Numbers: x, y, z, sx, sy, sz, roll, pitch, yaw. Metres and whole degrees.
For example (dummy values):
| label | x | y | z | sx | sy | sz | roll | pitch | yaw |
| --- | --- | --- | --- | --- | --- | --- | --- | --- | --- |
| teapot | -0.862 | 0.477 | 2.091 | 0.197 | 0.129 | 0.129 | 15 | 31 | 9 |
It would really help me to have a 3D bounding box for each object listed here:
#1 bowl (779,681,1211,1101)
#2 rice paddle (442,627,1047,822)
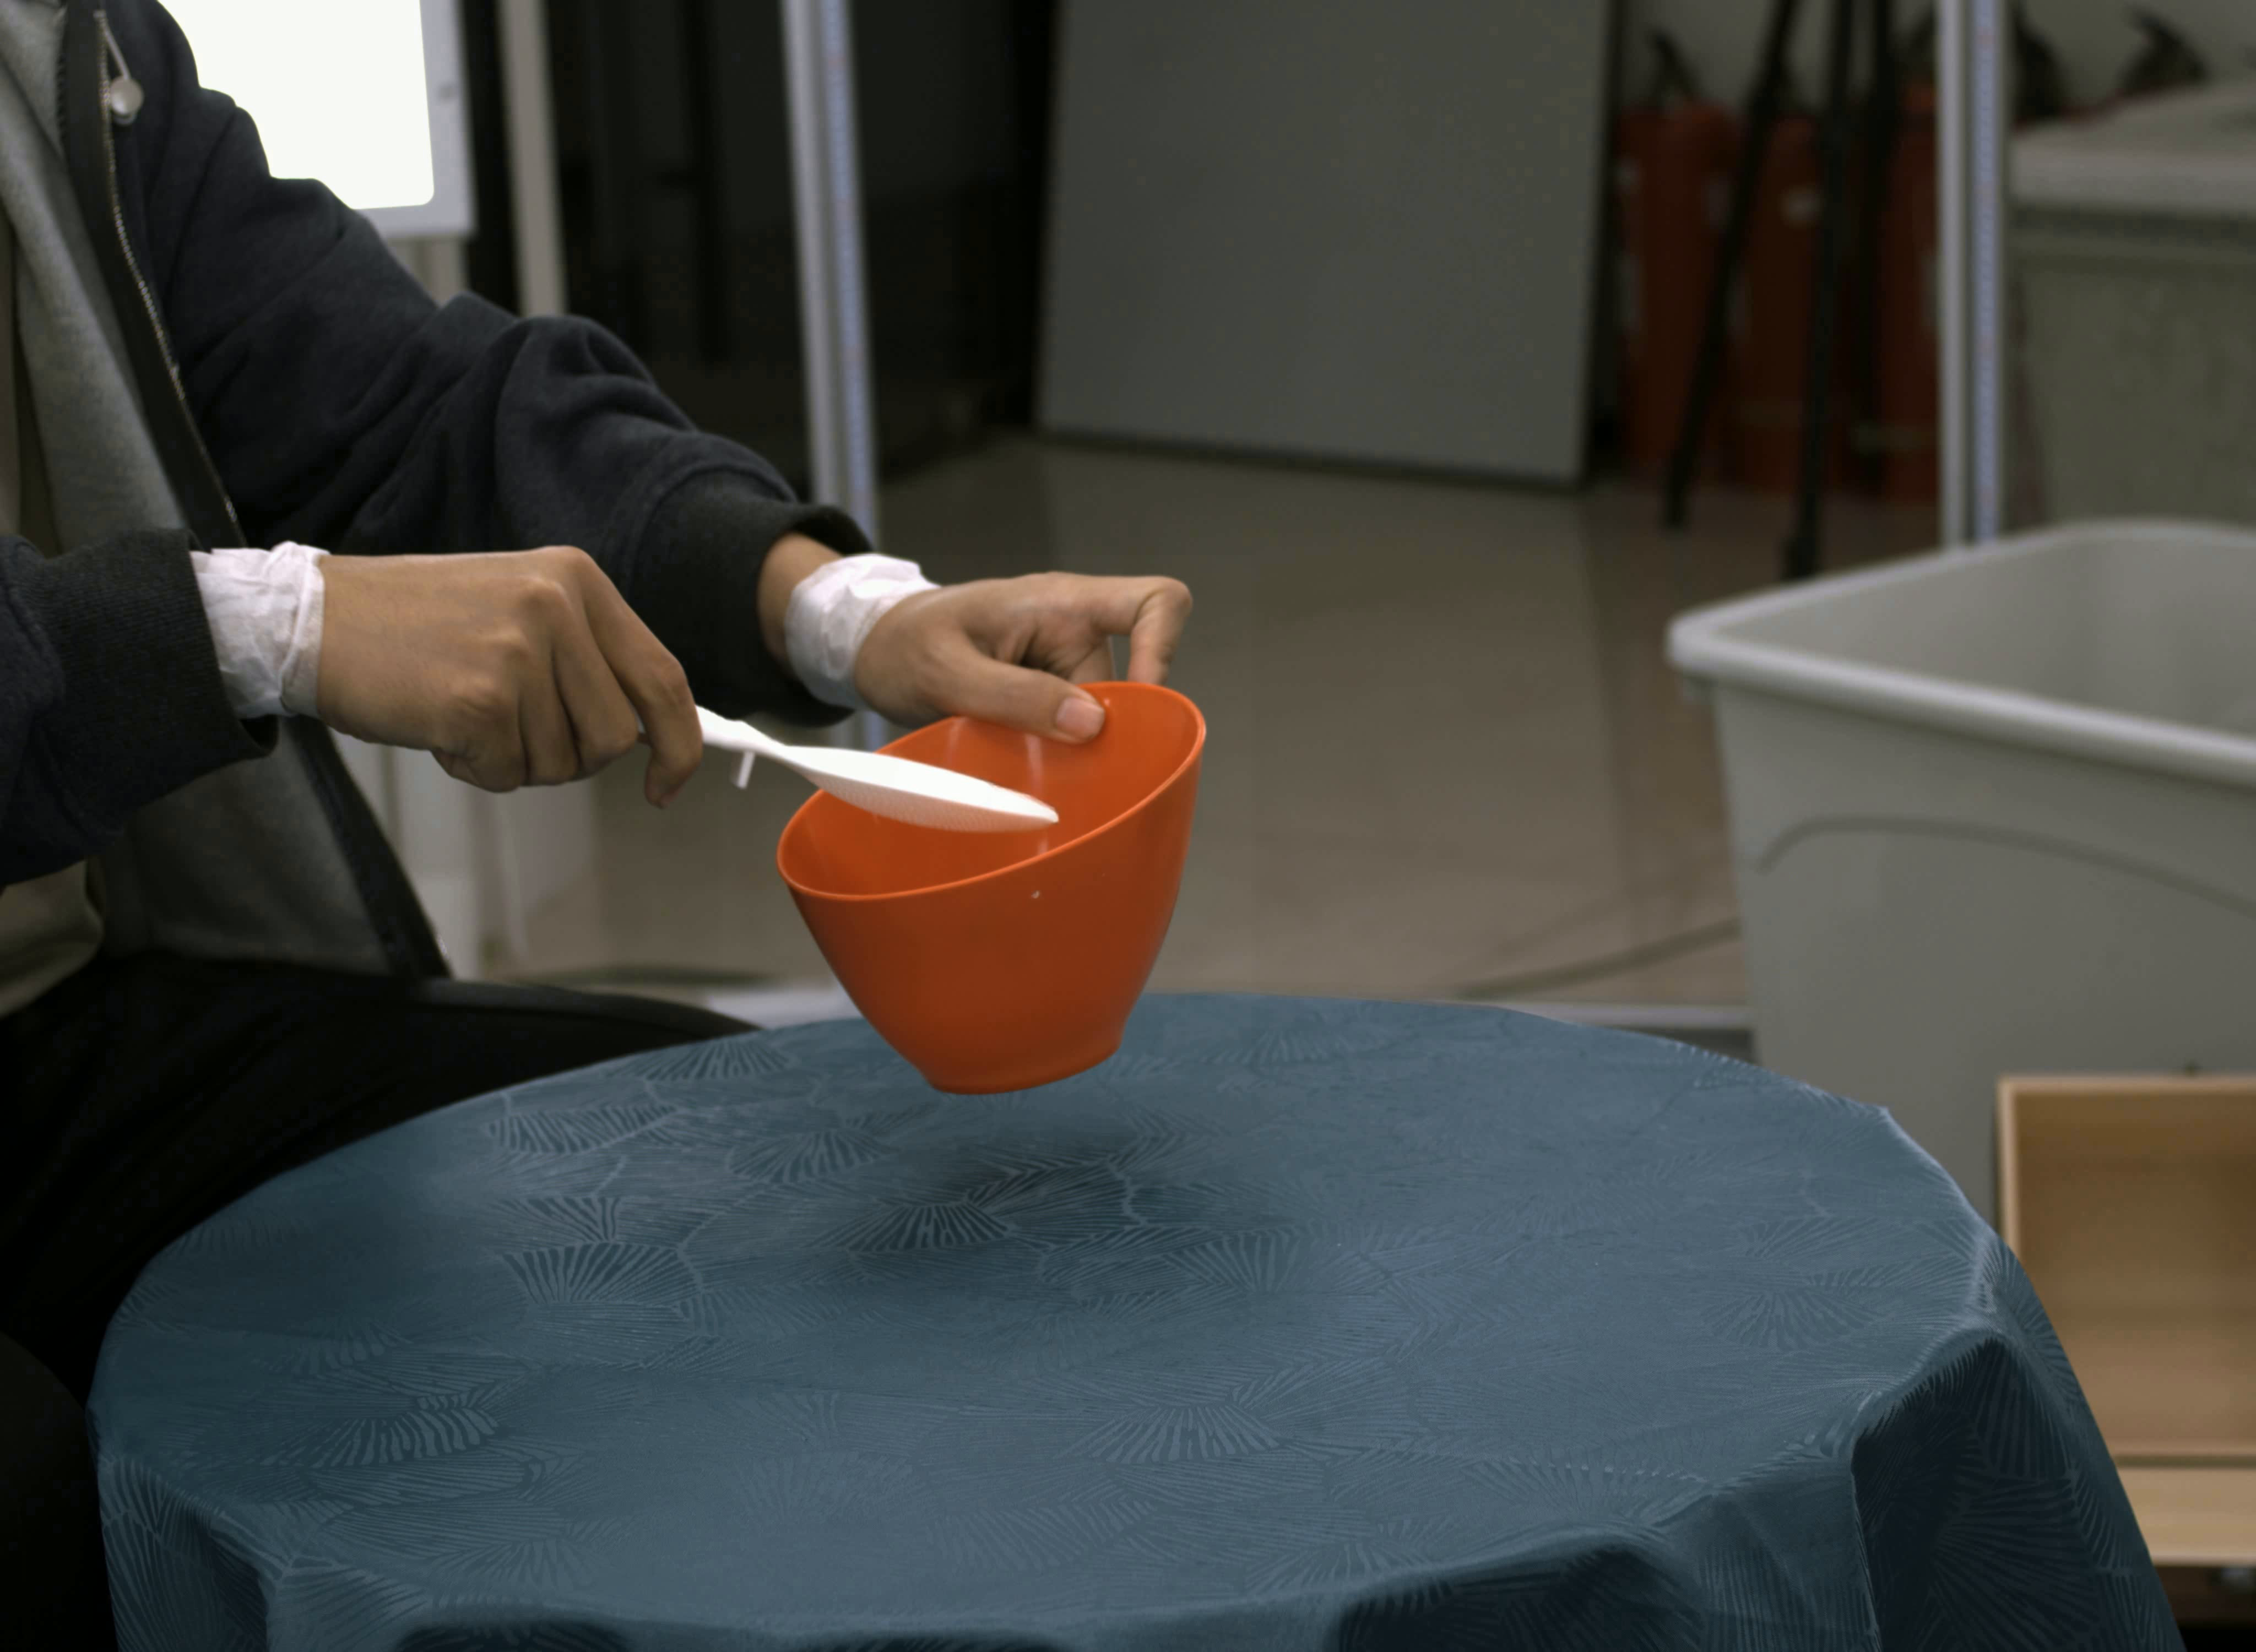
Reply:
| label | x | y | z | sx | sy | sz | roll | pitch | yaw |
| --- | --- | --- | --- | --- | --- | --- | --- | --- | --- |
| bowl | -0.036 | 0.026 | 1.765 | 0.146 | 0.105 | 0.148 | -11 | 15 | 2 |
| rice paddle | -0.119 | -0.029 | 1.738 | 0.201 | 0.030 | 0.069 | 12 | 9 | -20 |
